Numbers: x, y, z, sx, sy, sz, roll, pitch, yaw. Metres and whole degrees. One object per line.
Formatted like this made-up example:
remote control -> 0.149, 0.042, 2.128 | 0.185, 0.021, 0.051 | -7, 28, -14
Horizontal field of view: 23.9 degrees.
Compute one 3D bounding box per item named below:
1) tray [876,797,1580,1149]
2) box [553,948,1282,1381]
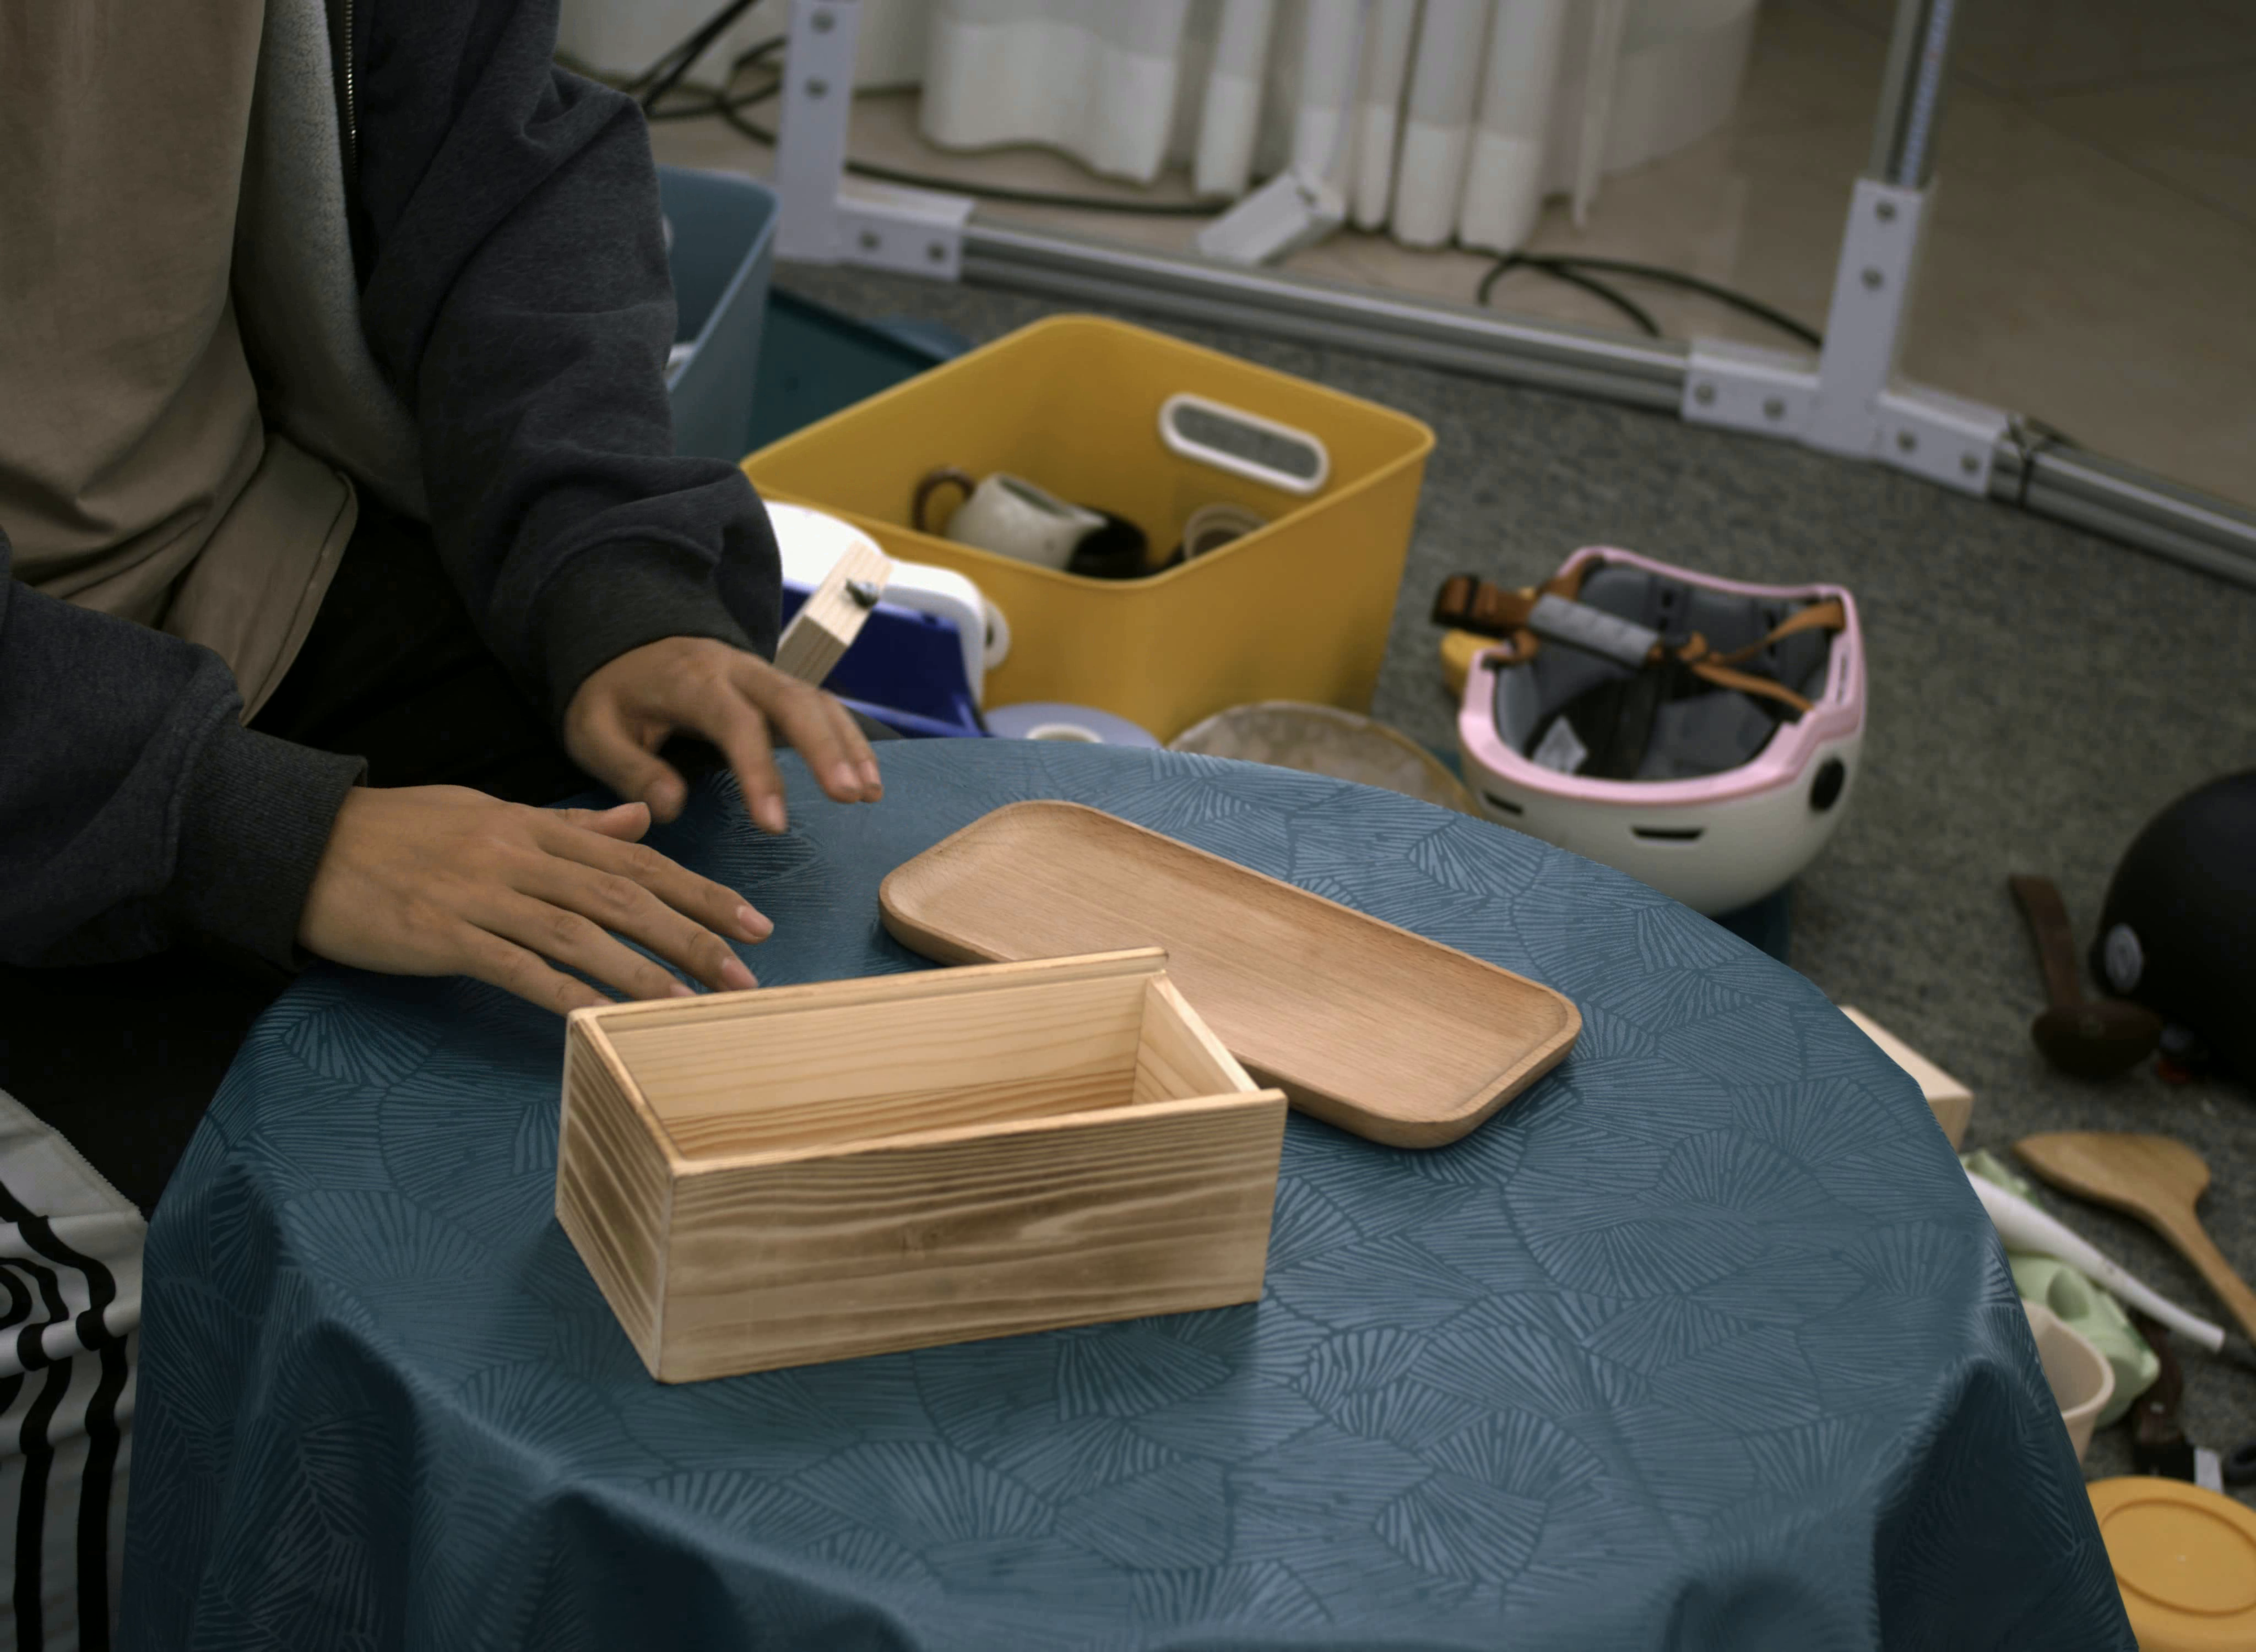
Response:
tray -> 0.035, 0.052, 1.932 | 0.252, 0.023, 0.130 | 21, 28, 28
box -> -0.070, 0.108, 1.730 | 0.210, 0.080, 0.108 | -6, 29, -23
